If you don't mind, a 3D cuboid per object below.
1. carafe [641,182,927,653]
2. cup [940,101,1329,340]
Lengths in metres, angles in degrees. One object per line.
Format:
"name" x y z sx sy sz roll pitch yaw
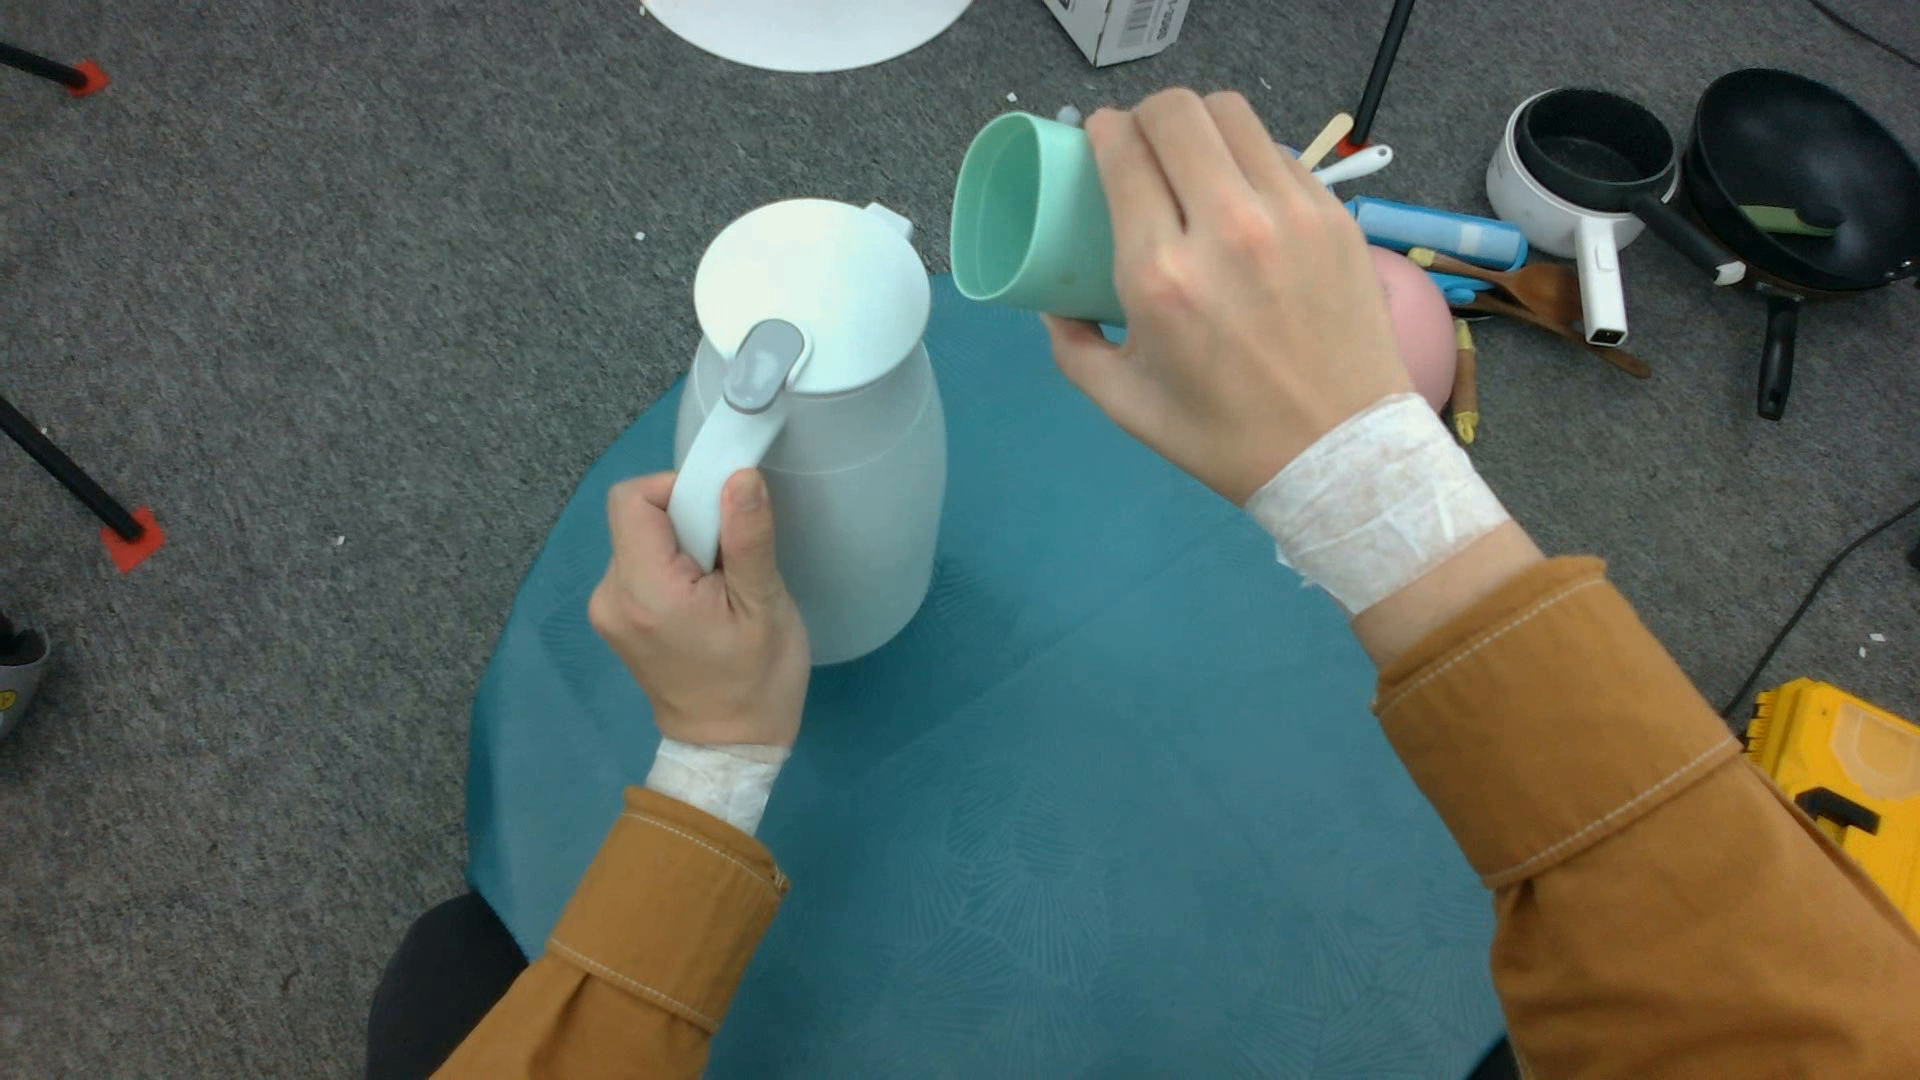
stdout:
"carafe" -0.086 -0.038 0.629 0.132 0.247 0.168 28 65 6
"cup" 0.065 -0.113 0.501 0.132 0.066 0.067 6 60 -30
